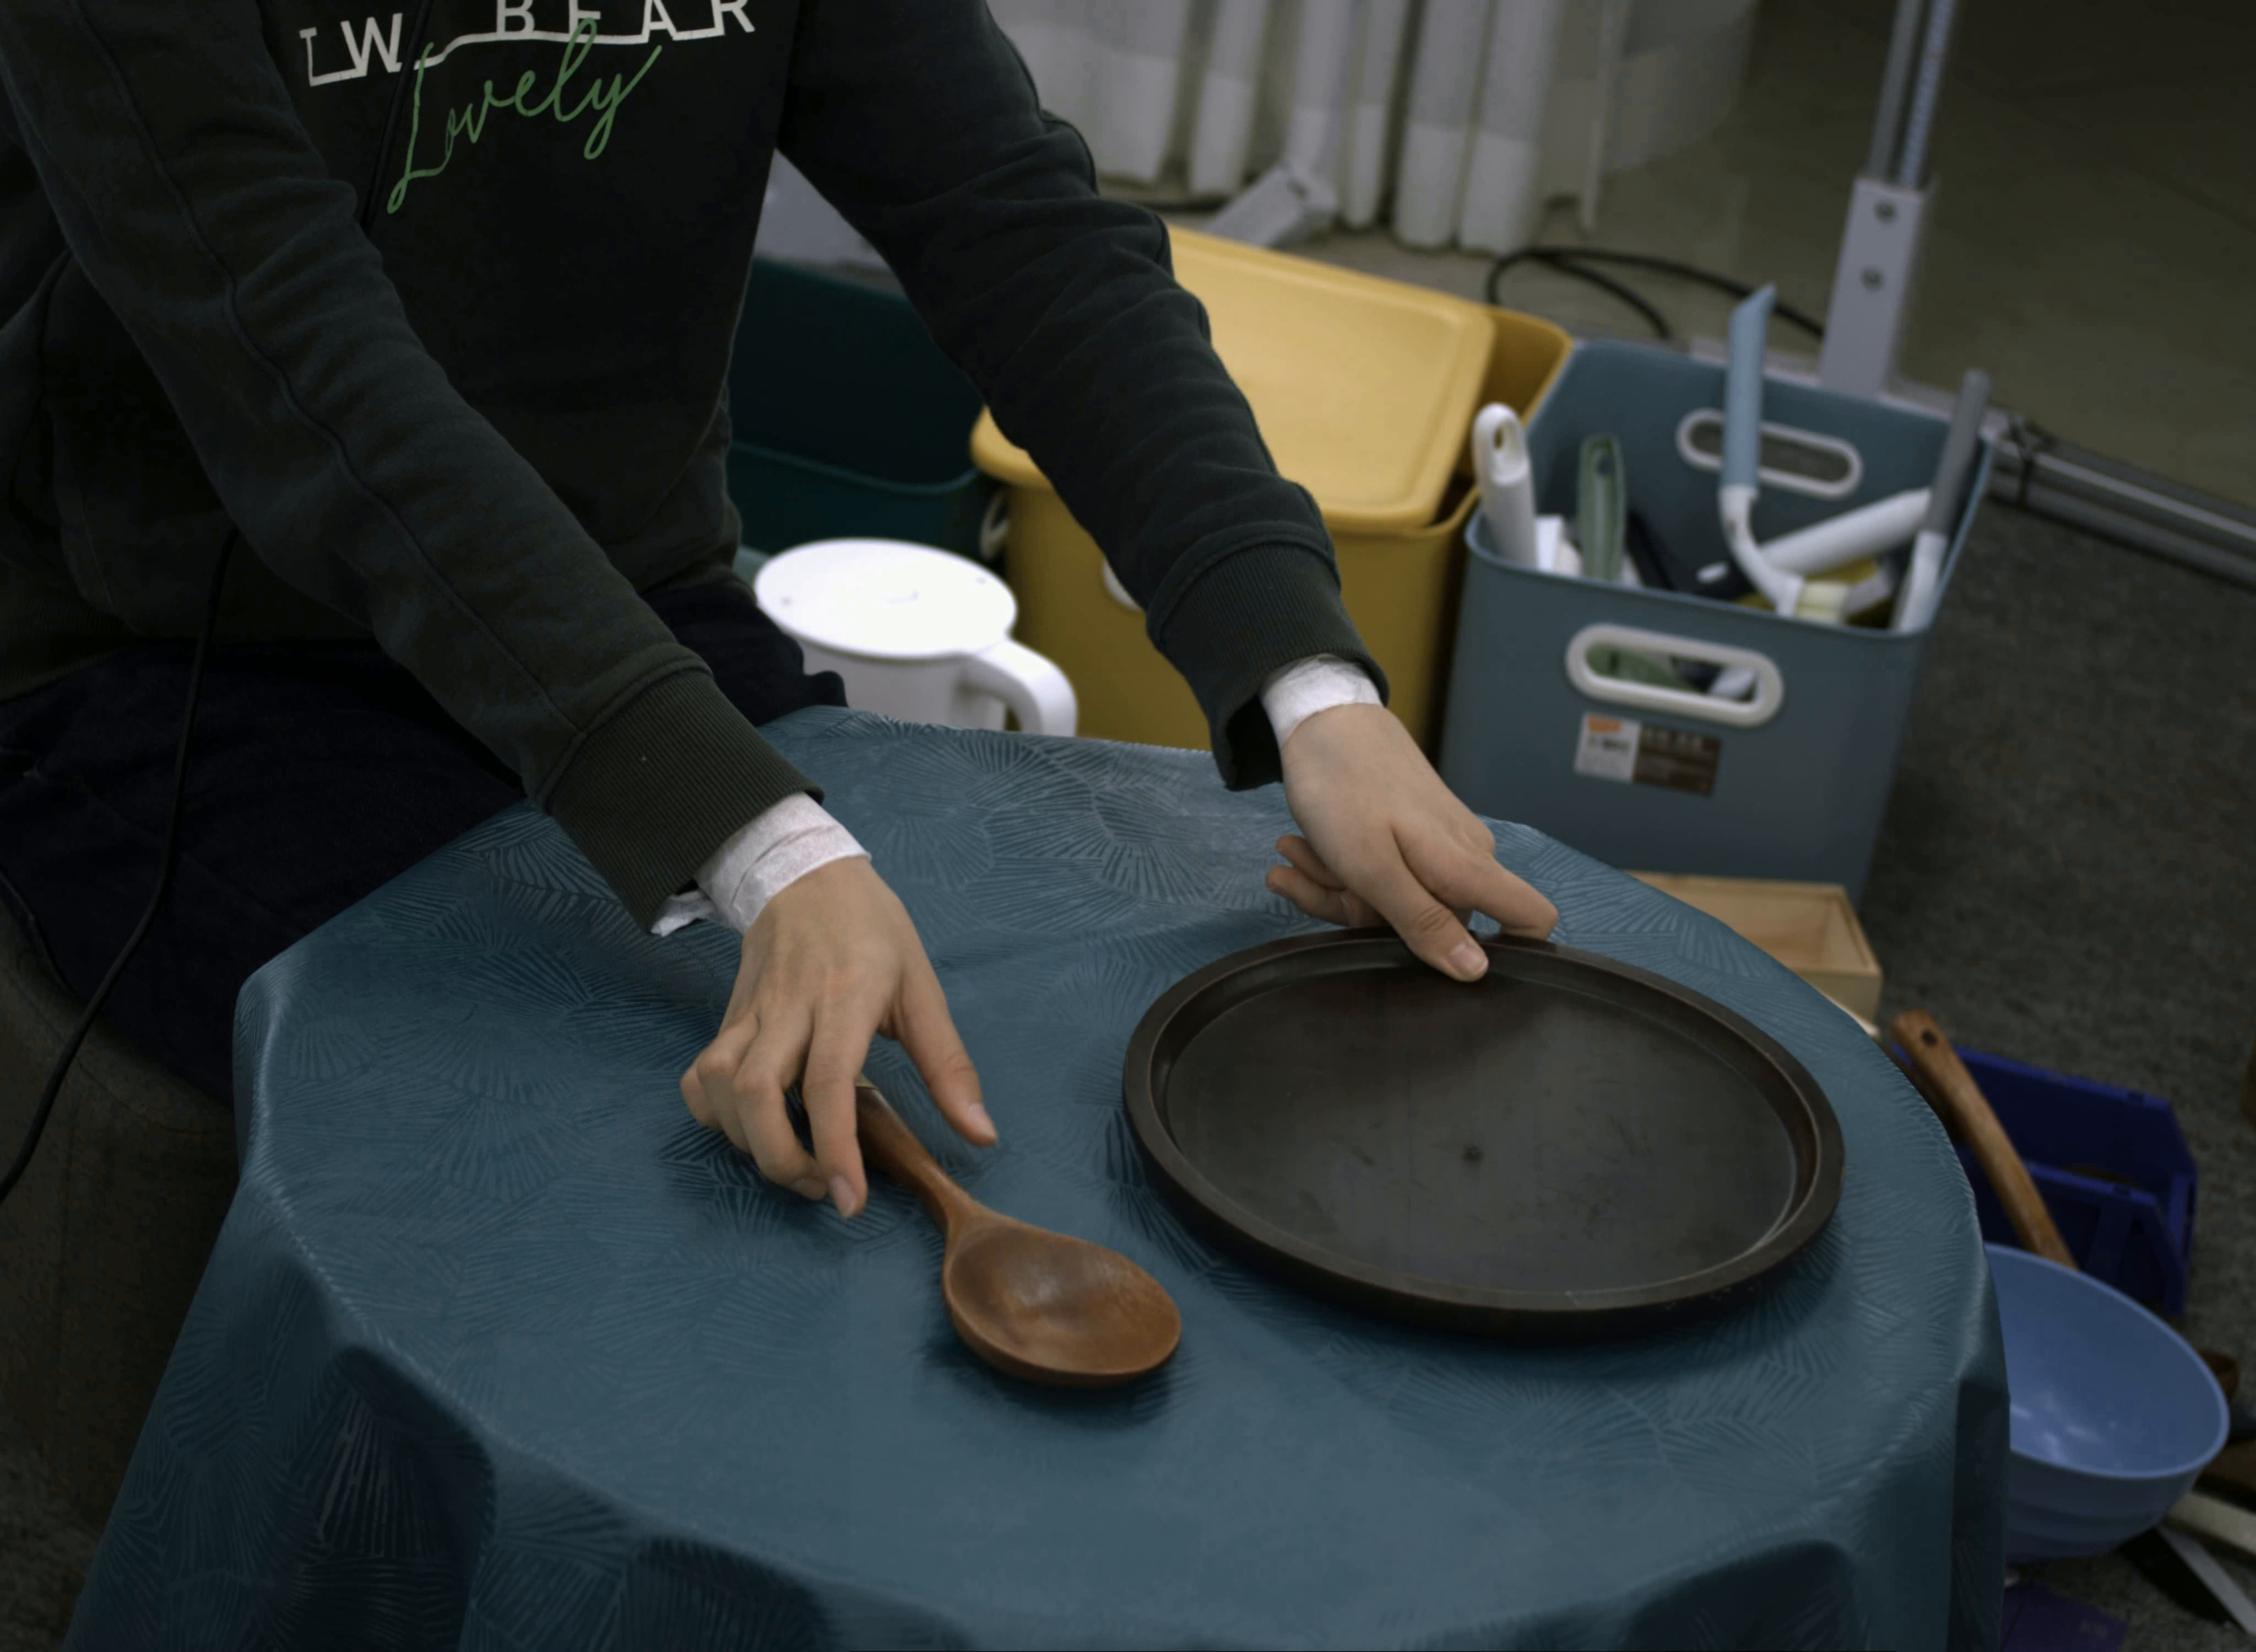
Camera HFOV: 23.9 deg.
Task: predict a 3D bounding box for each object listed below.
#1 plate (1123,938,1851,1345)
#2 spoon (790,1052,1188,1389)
[{"bbox_3d":[0.123,0.106,1.834,0.254,0.029,0.256,6,28,-3],"label":"plate"},{"bbox_3d":[-0.054,0.130,1.756,0.075,0.017,0.218,-10,31,-30],"label":"spoon"}]
